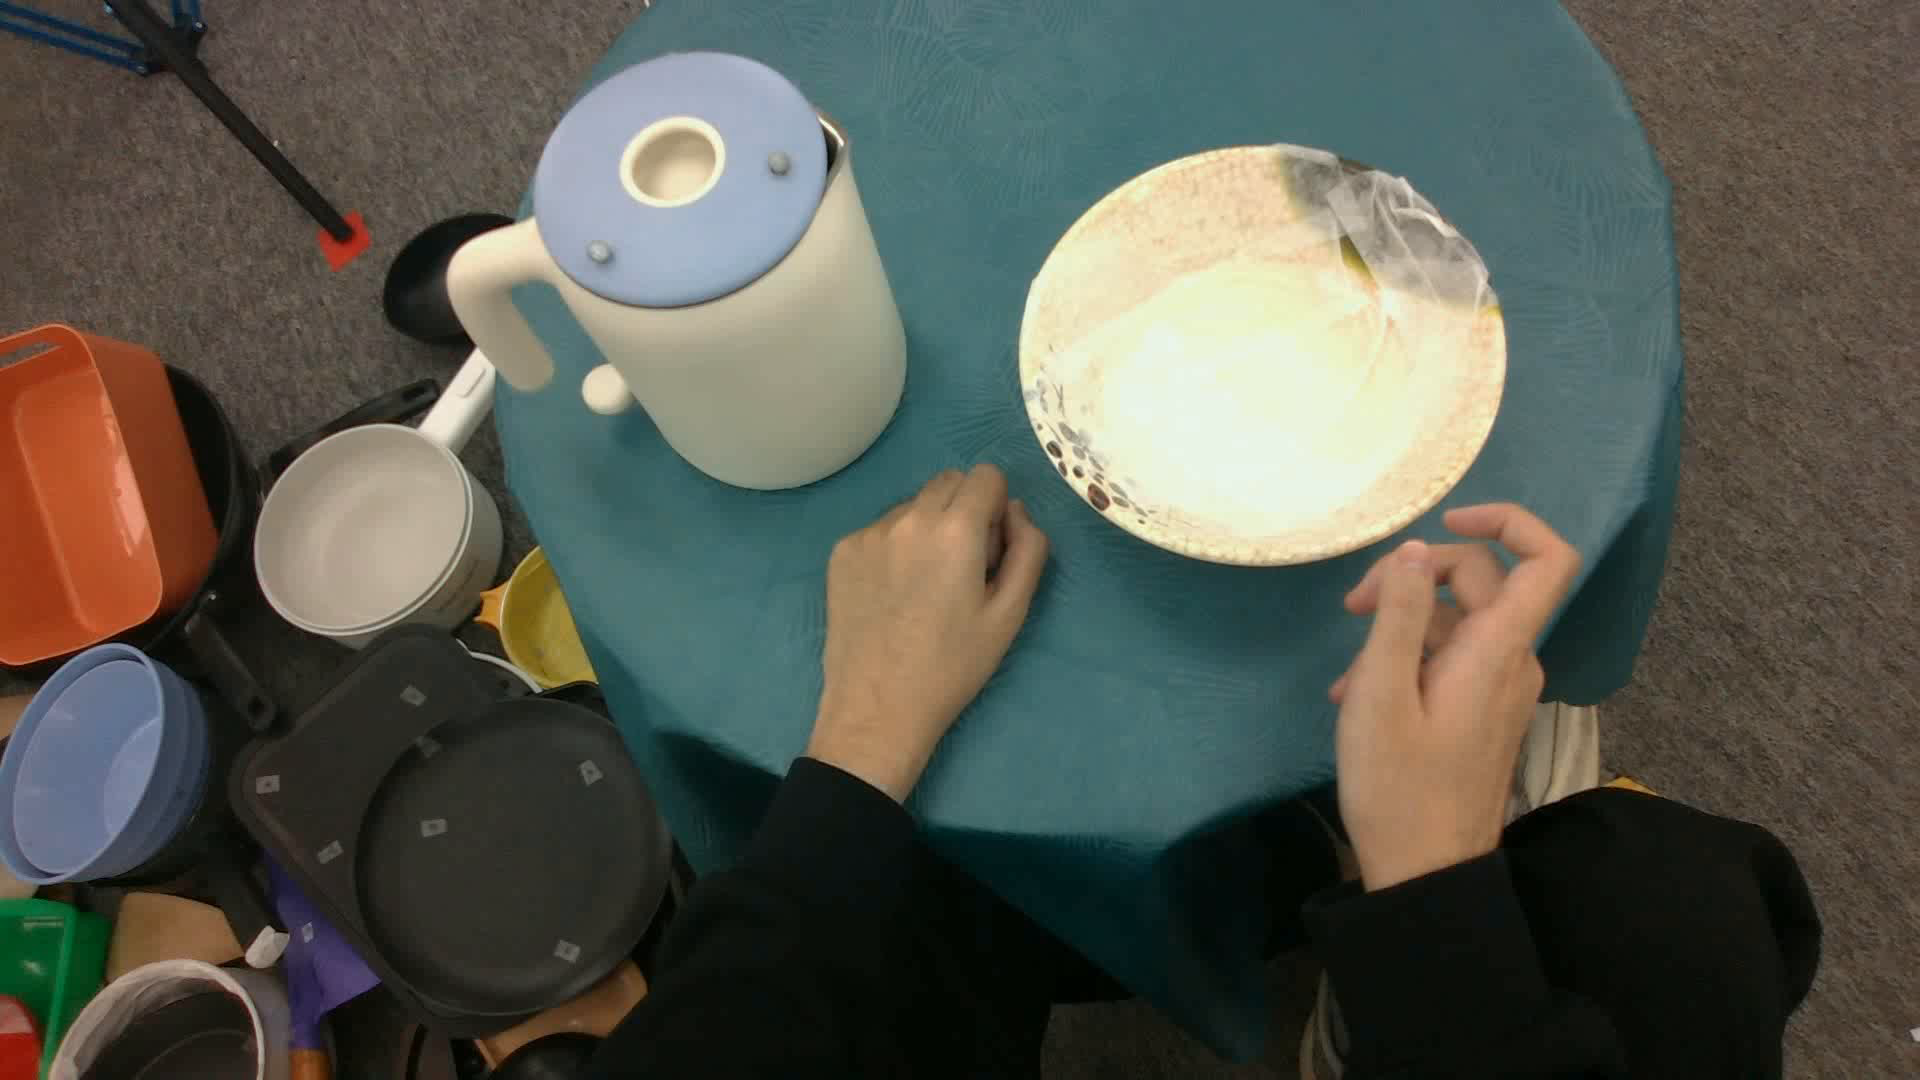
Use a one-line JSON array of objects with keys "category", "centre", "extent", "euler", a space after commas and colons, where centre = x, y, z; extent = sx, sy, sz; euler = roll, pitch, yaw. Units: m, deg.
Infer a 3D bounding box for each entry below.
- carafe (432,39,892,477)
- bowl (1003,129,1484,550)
[{"category": "carafe", "centre": [-0.131, -0.113, 0.619], "extent": [0.191, 0.182, 0.132], "euler": [-15, 66, 3]}, {"category": "bowl", "centre": [0.125, -0.080, 0.627], "extent": [0.204, 0.078, 0.204], "euler": [-2, 70, 7]}]
